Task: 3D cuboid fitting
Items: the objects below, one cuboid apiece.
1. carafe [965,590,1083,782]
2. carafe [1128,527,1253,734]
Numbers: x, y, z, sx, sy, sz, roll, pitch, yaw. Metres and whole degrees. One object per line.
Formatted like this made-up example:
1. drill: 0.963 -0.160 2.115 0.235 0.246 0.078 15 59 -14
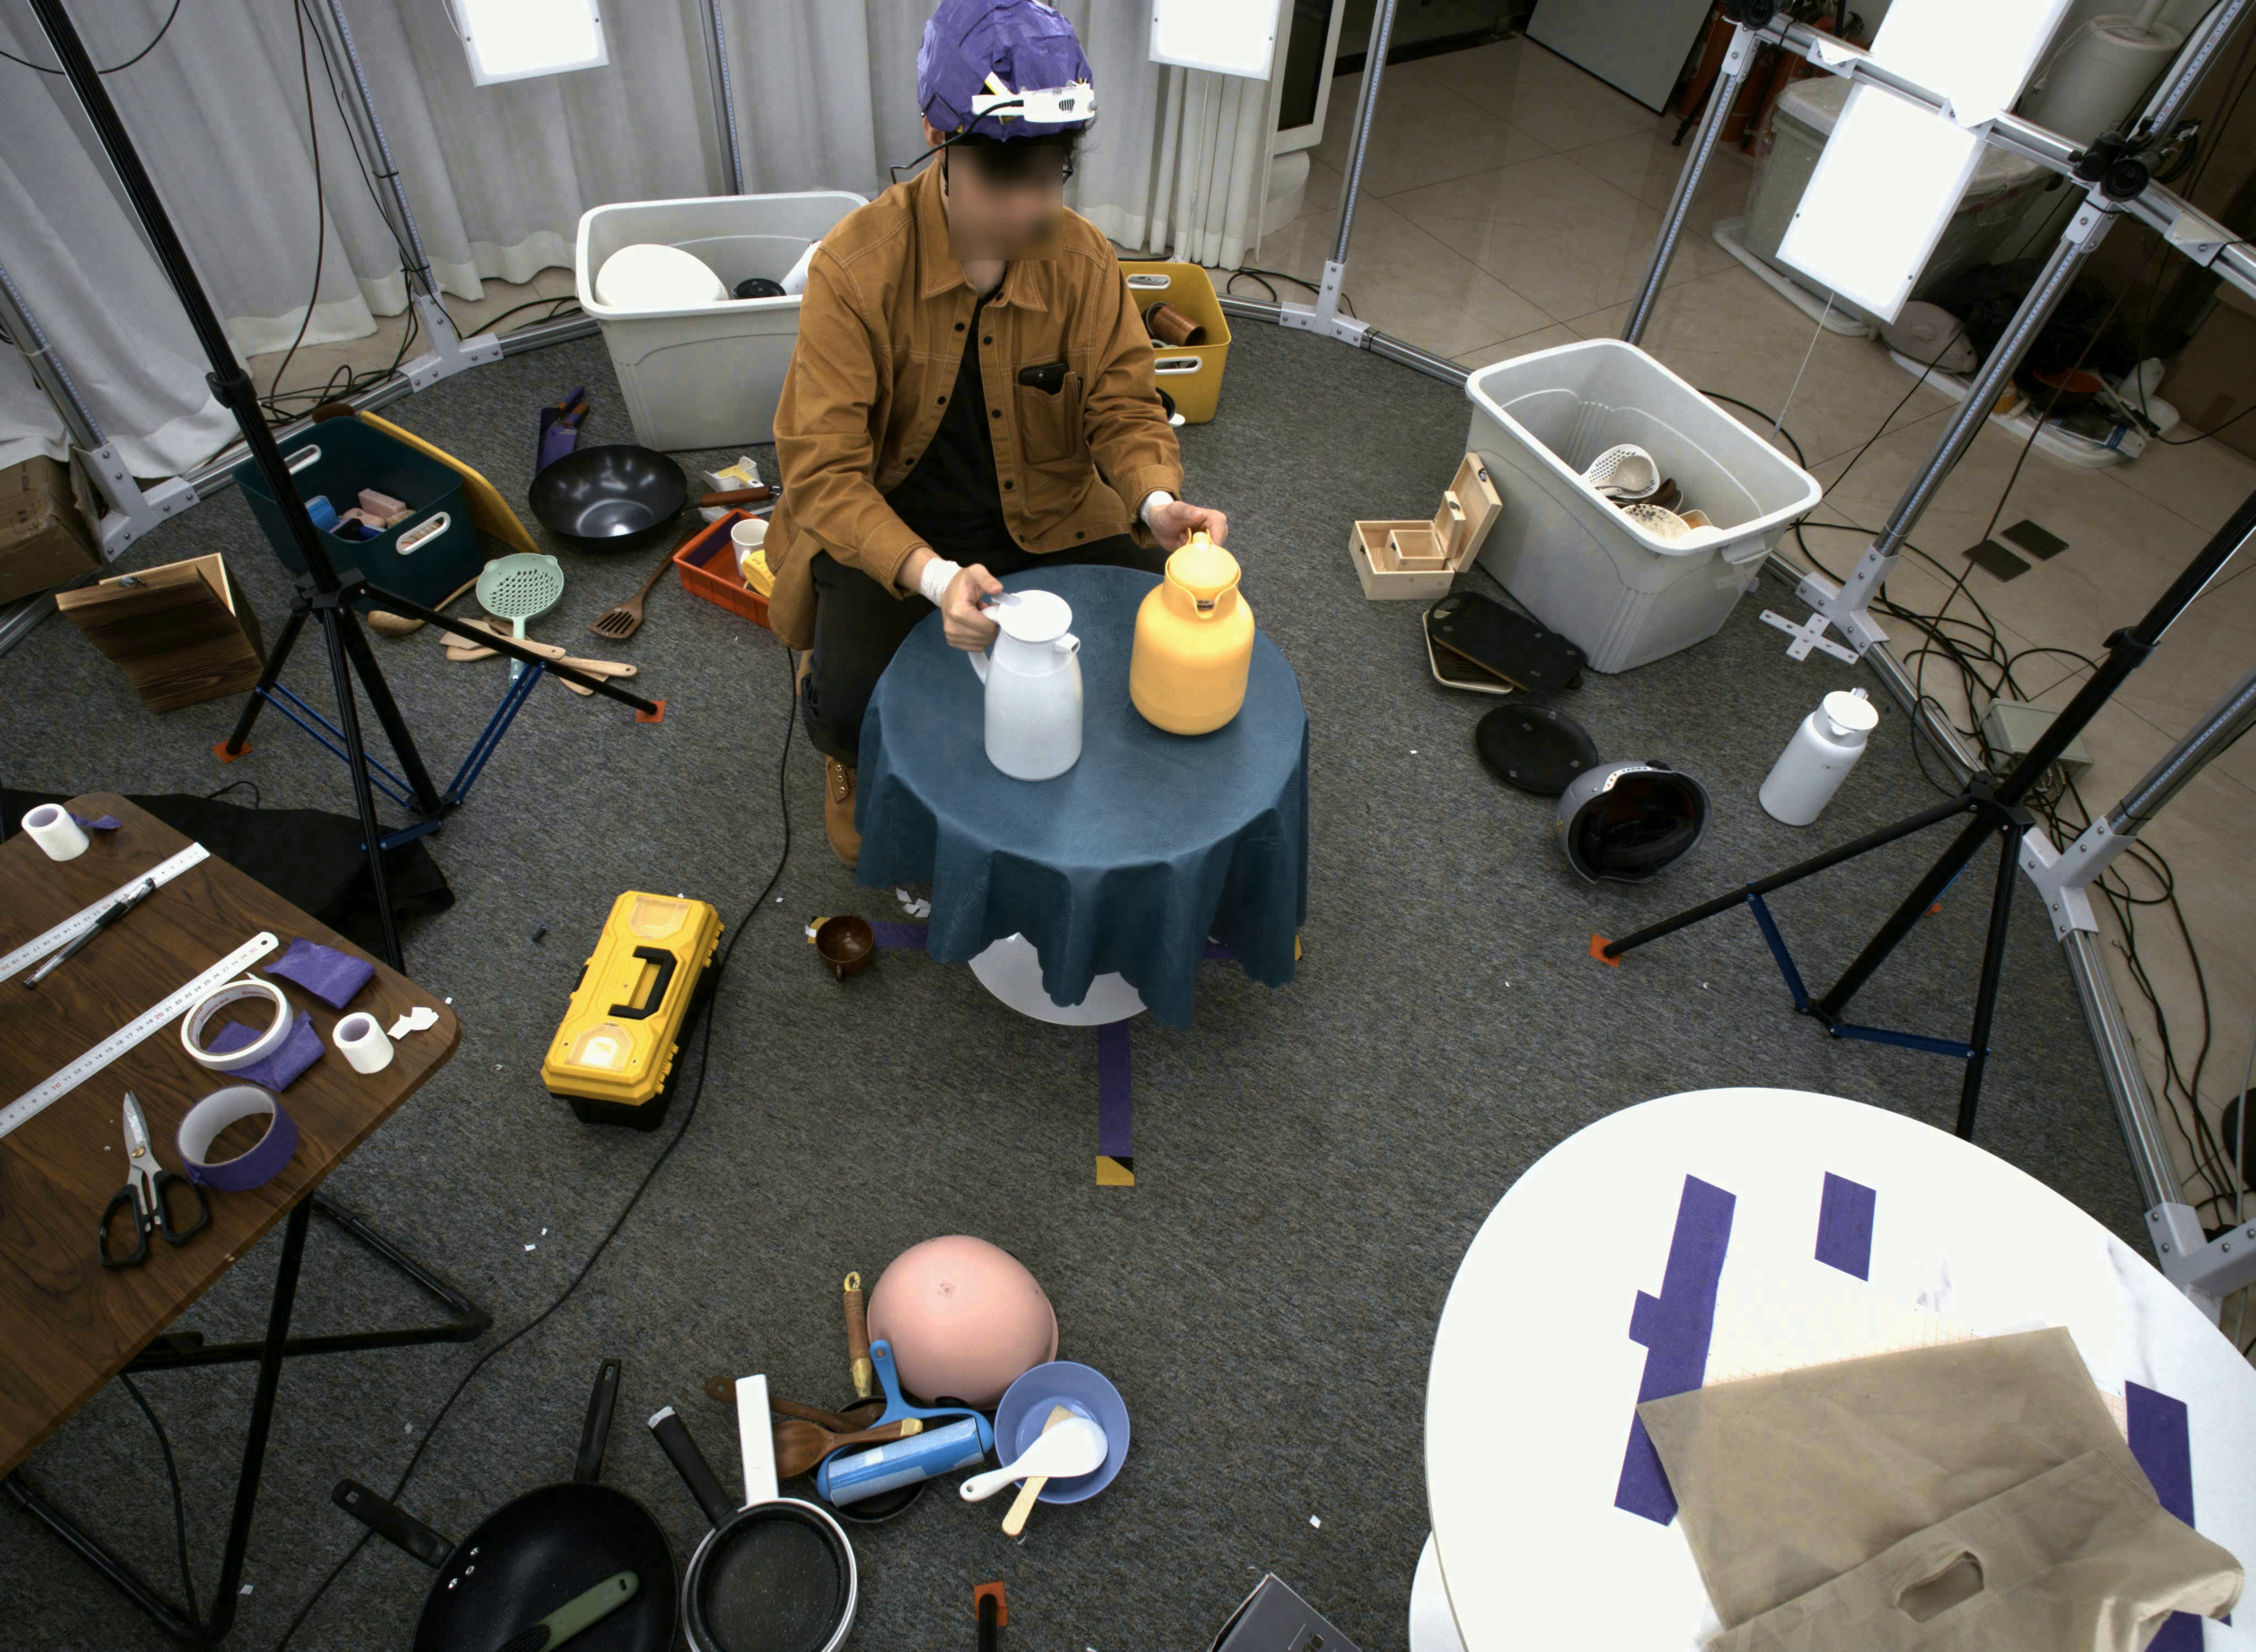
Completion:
1. carafe: -0.138 -0.194 1.667 0.169 0.242 0.134 29 55 19
2. carafe: 0.089 -0.272 1.742 0.163 0.254 0.207 4 51 -3
